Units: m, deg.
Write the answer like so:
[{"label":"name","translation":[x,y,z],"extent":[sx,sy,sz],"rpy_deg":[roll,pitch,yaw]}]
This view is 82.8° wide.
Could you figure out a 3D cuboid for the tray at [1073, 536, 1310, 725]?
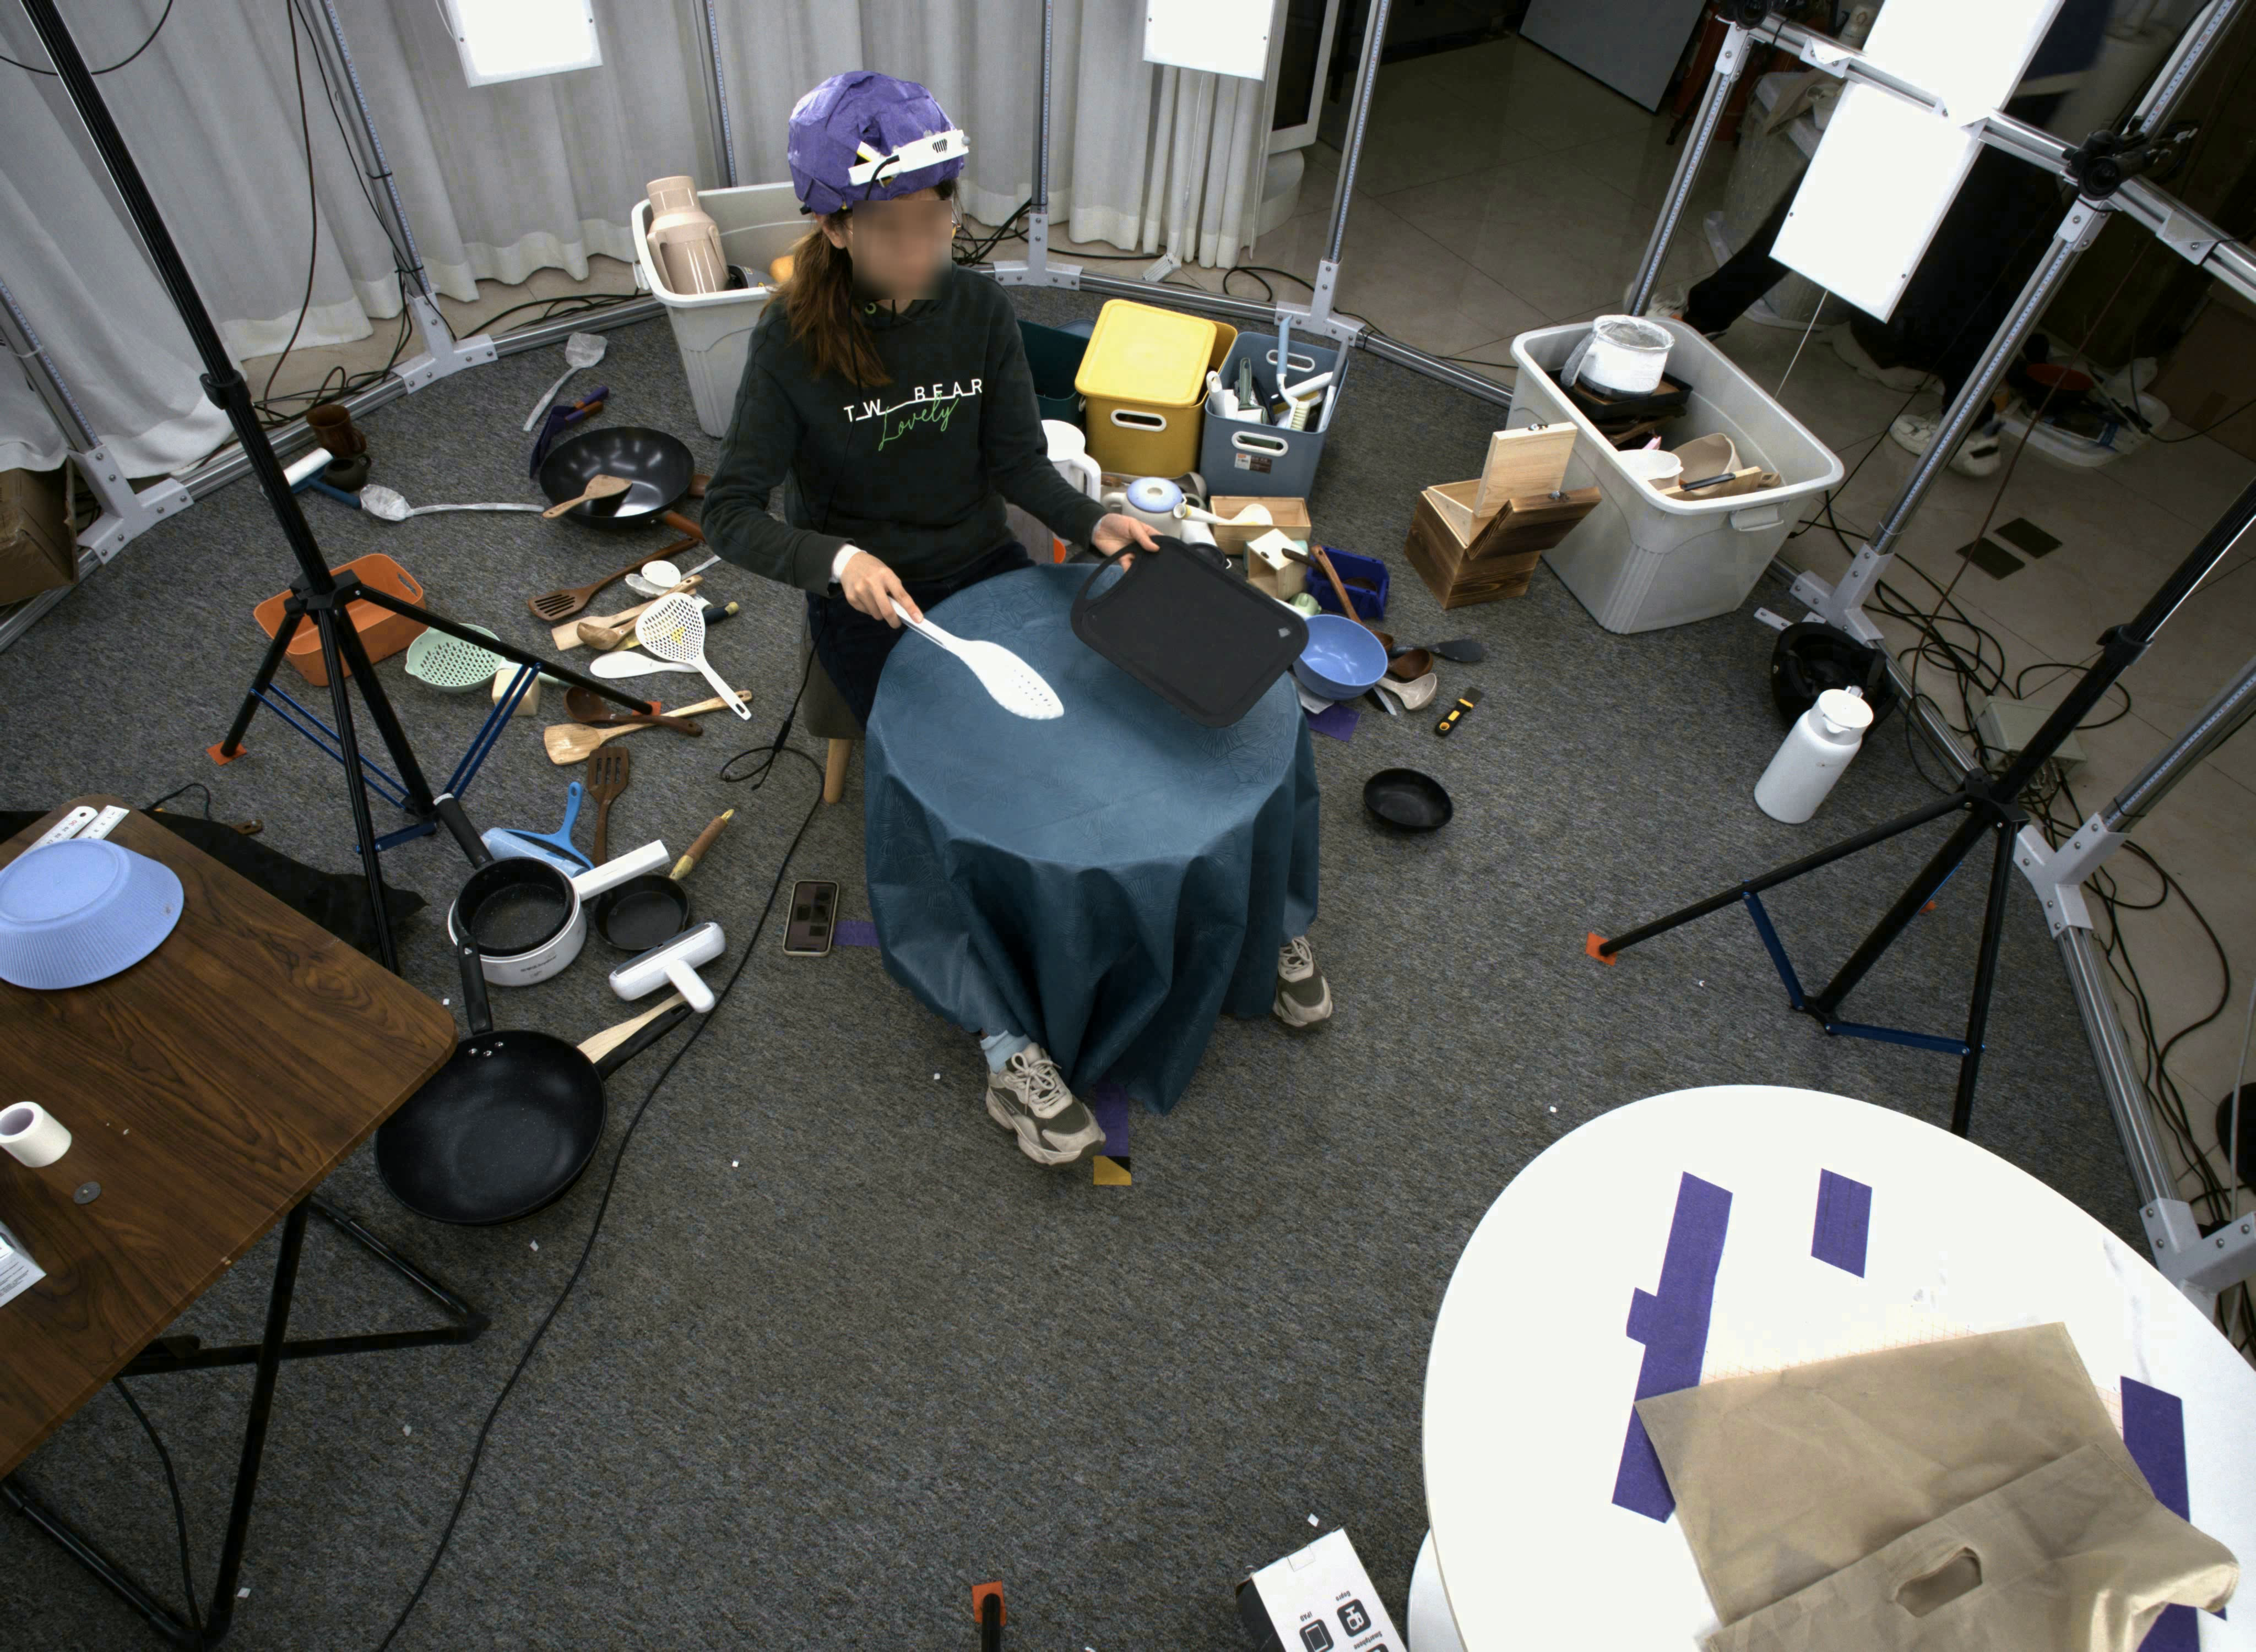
[{"label":"tray","translation":[0.077,-0.281,1.784],"extent":[0.330,0.009,0.212],"rpy_deg":[37,76,26]}]

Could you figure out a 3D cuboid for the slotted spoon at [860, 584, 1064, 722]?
[{"label":"slotted spoon","translation":[-0.220,-0.231,1.659],"extent":[0.355,0.133,0.046],"rpy_deg":[37,71,28]}]
